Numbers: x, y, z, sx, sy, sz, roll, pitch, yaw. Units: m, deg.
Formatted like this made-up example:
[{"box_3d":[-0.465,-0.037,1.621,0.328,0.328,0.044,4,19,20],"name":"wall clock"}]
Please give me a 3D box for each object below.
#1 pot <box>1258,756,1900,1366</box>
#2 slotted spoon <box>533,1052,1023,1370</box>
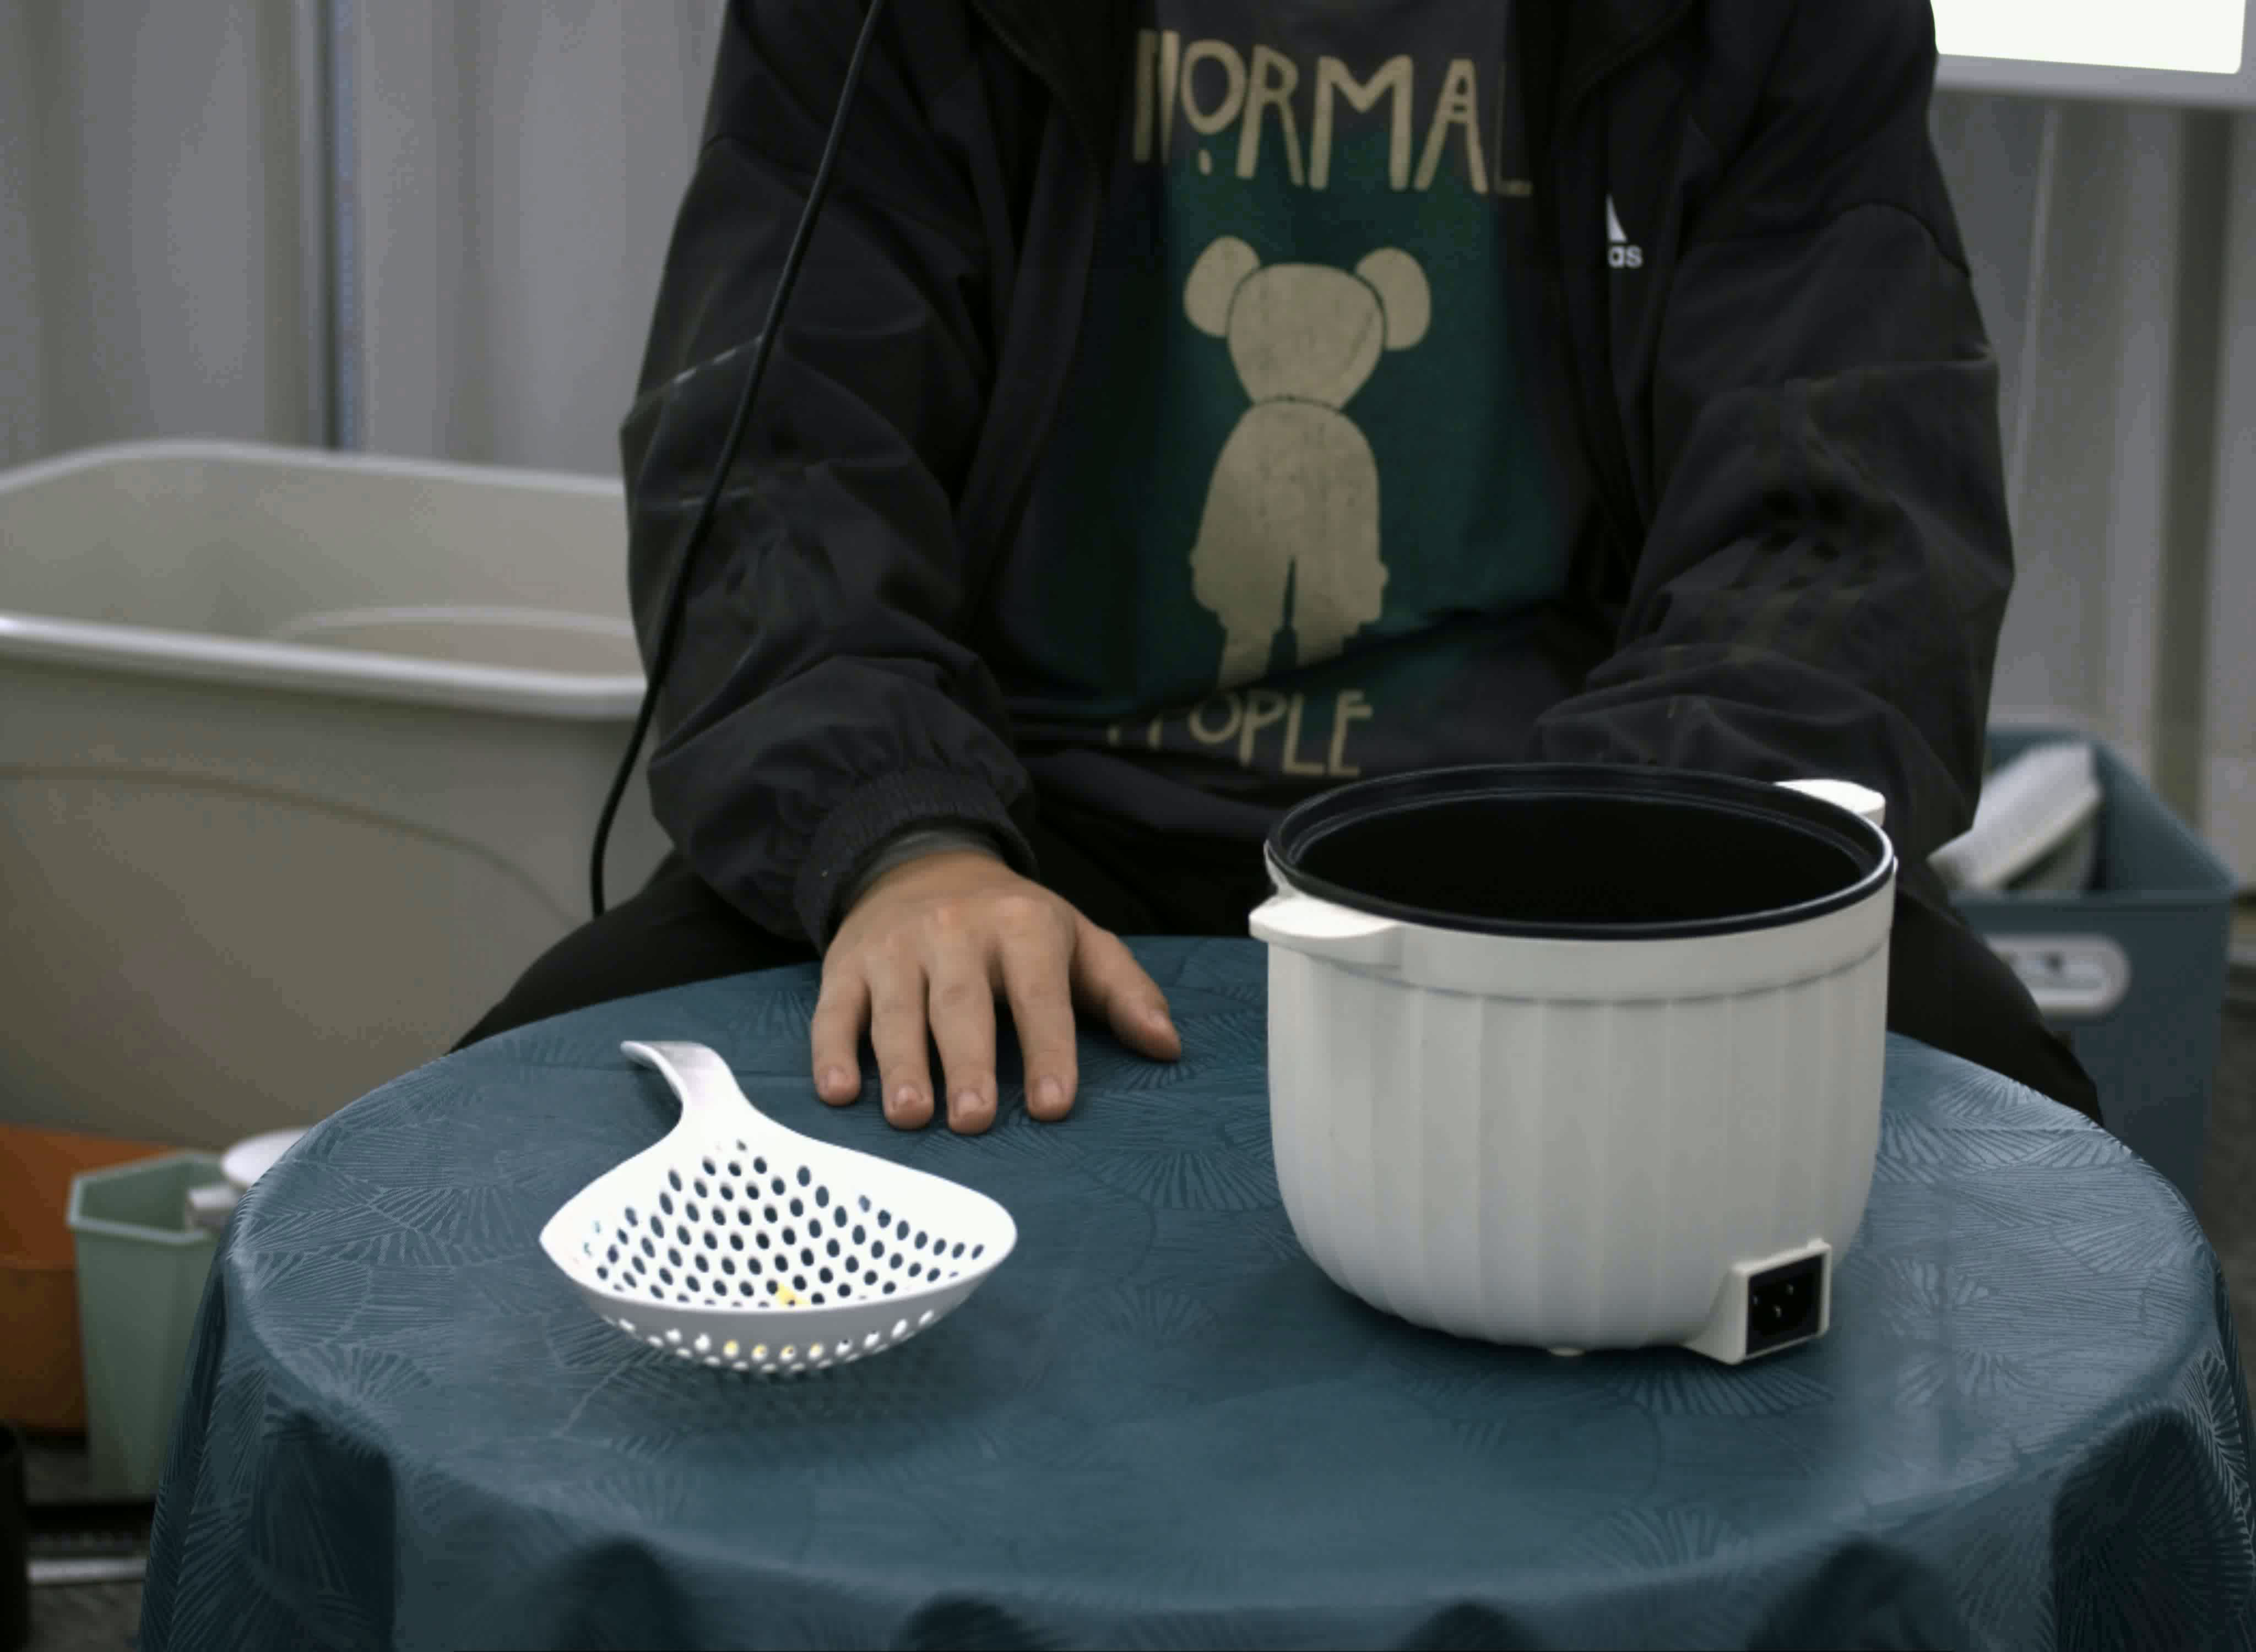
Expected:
[{"box_3d":[0.125,0.067,1.534,0.242,0.144,0.188,-11,22,-40],"name":"pot"},{"box_3d":[-0.121,0.101,1.581,0.137,0.051,0.344,-5,17,-12],"name":"slotted spoon"}]
